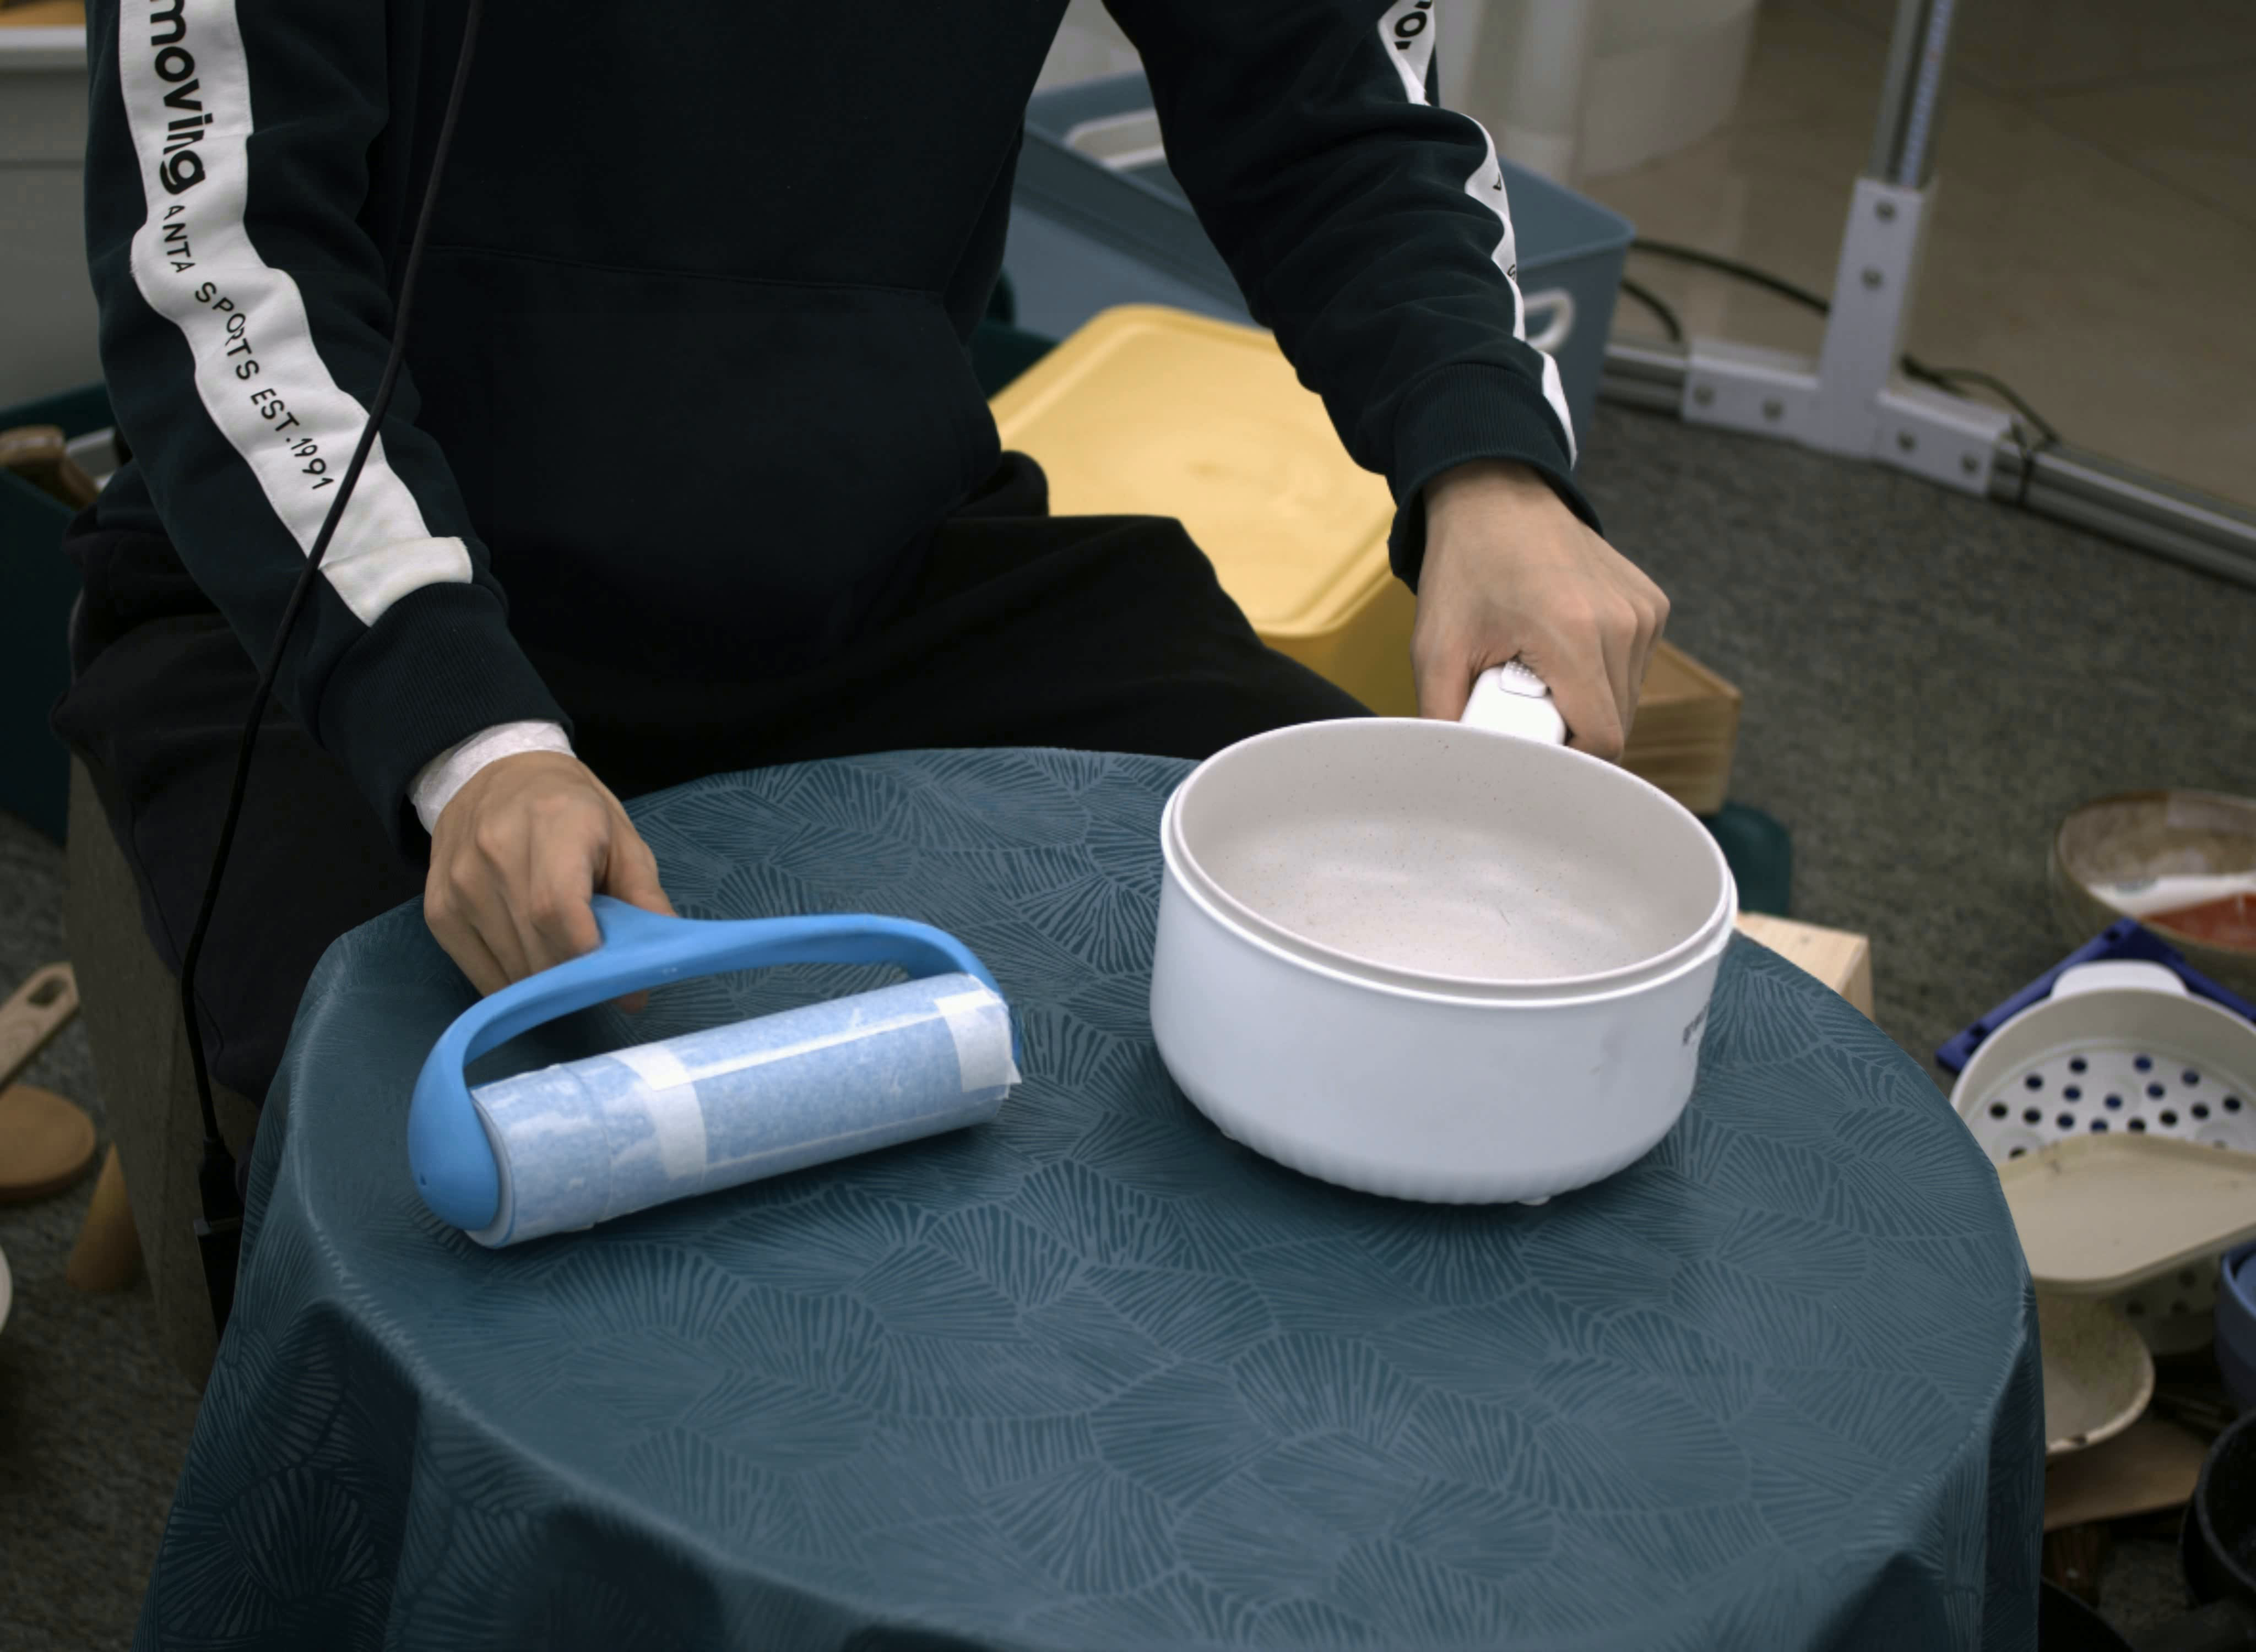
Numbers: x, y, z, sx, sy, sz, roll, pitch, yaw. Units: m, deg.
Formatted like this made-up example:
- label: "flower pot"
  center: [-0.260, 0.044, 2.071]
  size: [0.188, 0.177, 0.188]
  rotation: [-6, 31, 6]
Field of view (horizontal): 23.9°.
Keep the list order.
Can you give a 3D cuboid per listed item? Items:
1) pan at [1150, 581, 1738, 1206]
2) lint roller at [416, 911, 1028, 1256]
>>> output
- label: "pan"
  center: [0.125, 0.020, 1.921]
  size: [0.201, 0.102, 0.355]
  rotation: [11, 26, 10]
- label: "lint roller"
  center: [-0.166, 0.065, 1.807]
  size: [0.227, 0.067, 0.182]
  rotation: [-16, 38, -34]
